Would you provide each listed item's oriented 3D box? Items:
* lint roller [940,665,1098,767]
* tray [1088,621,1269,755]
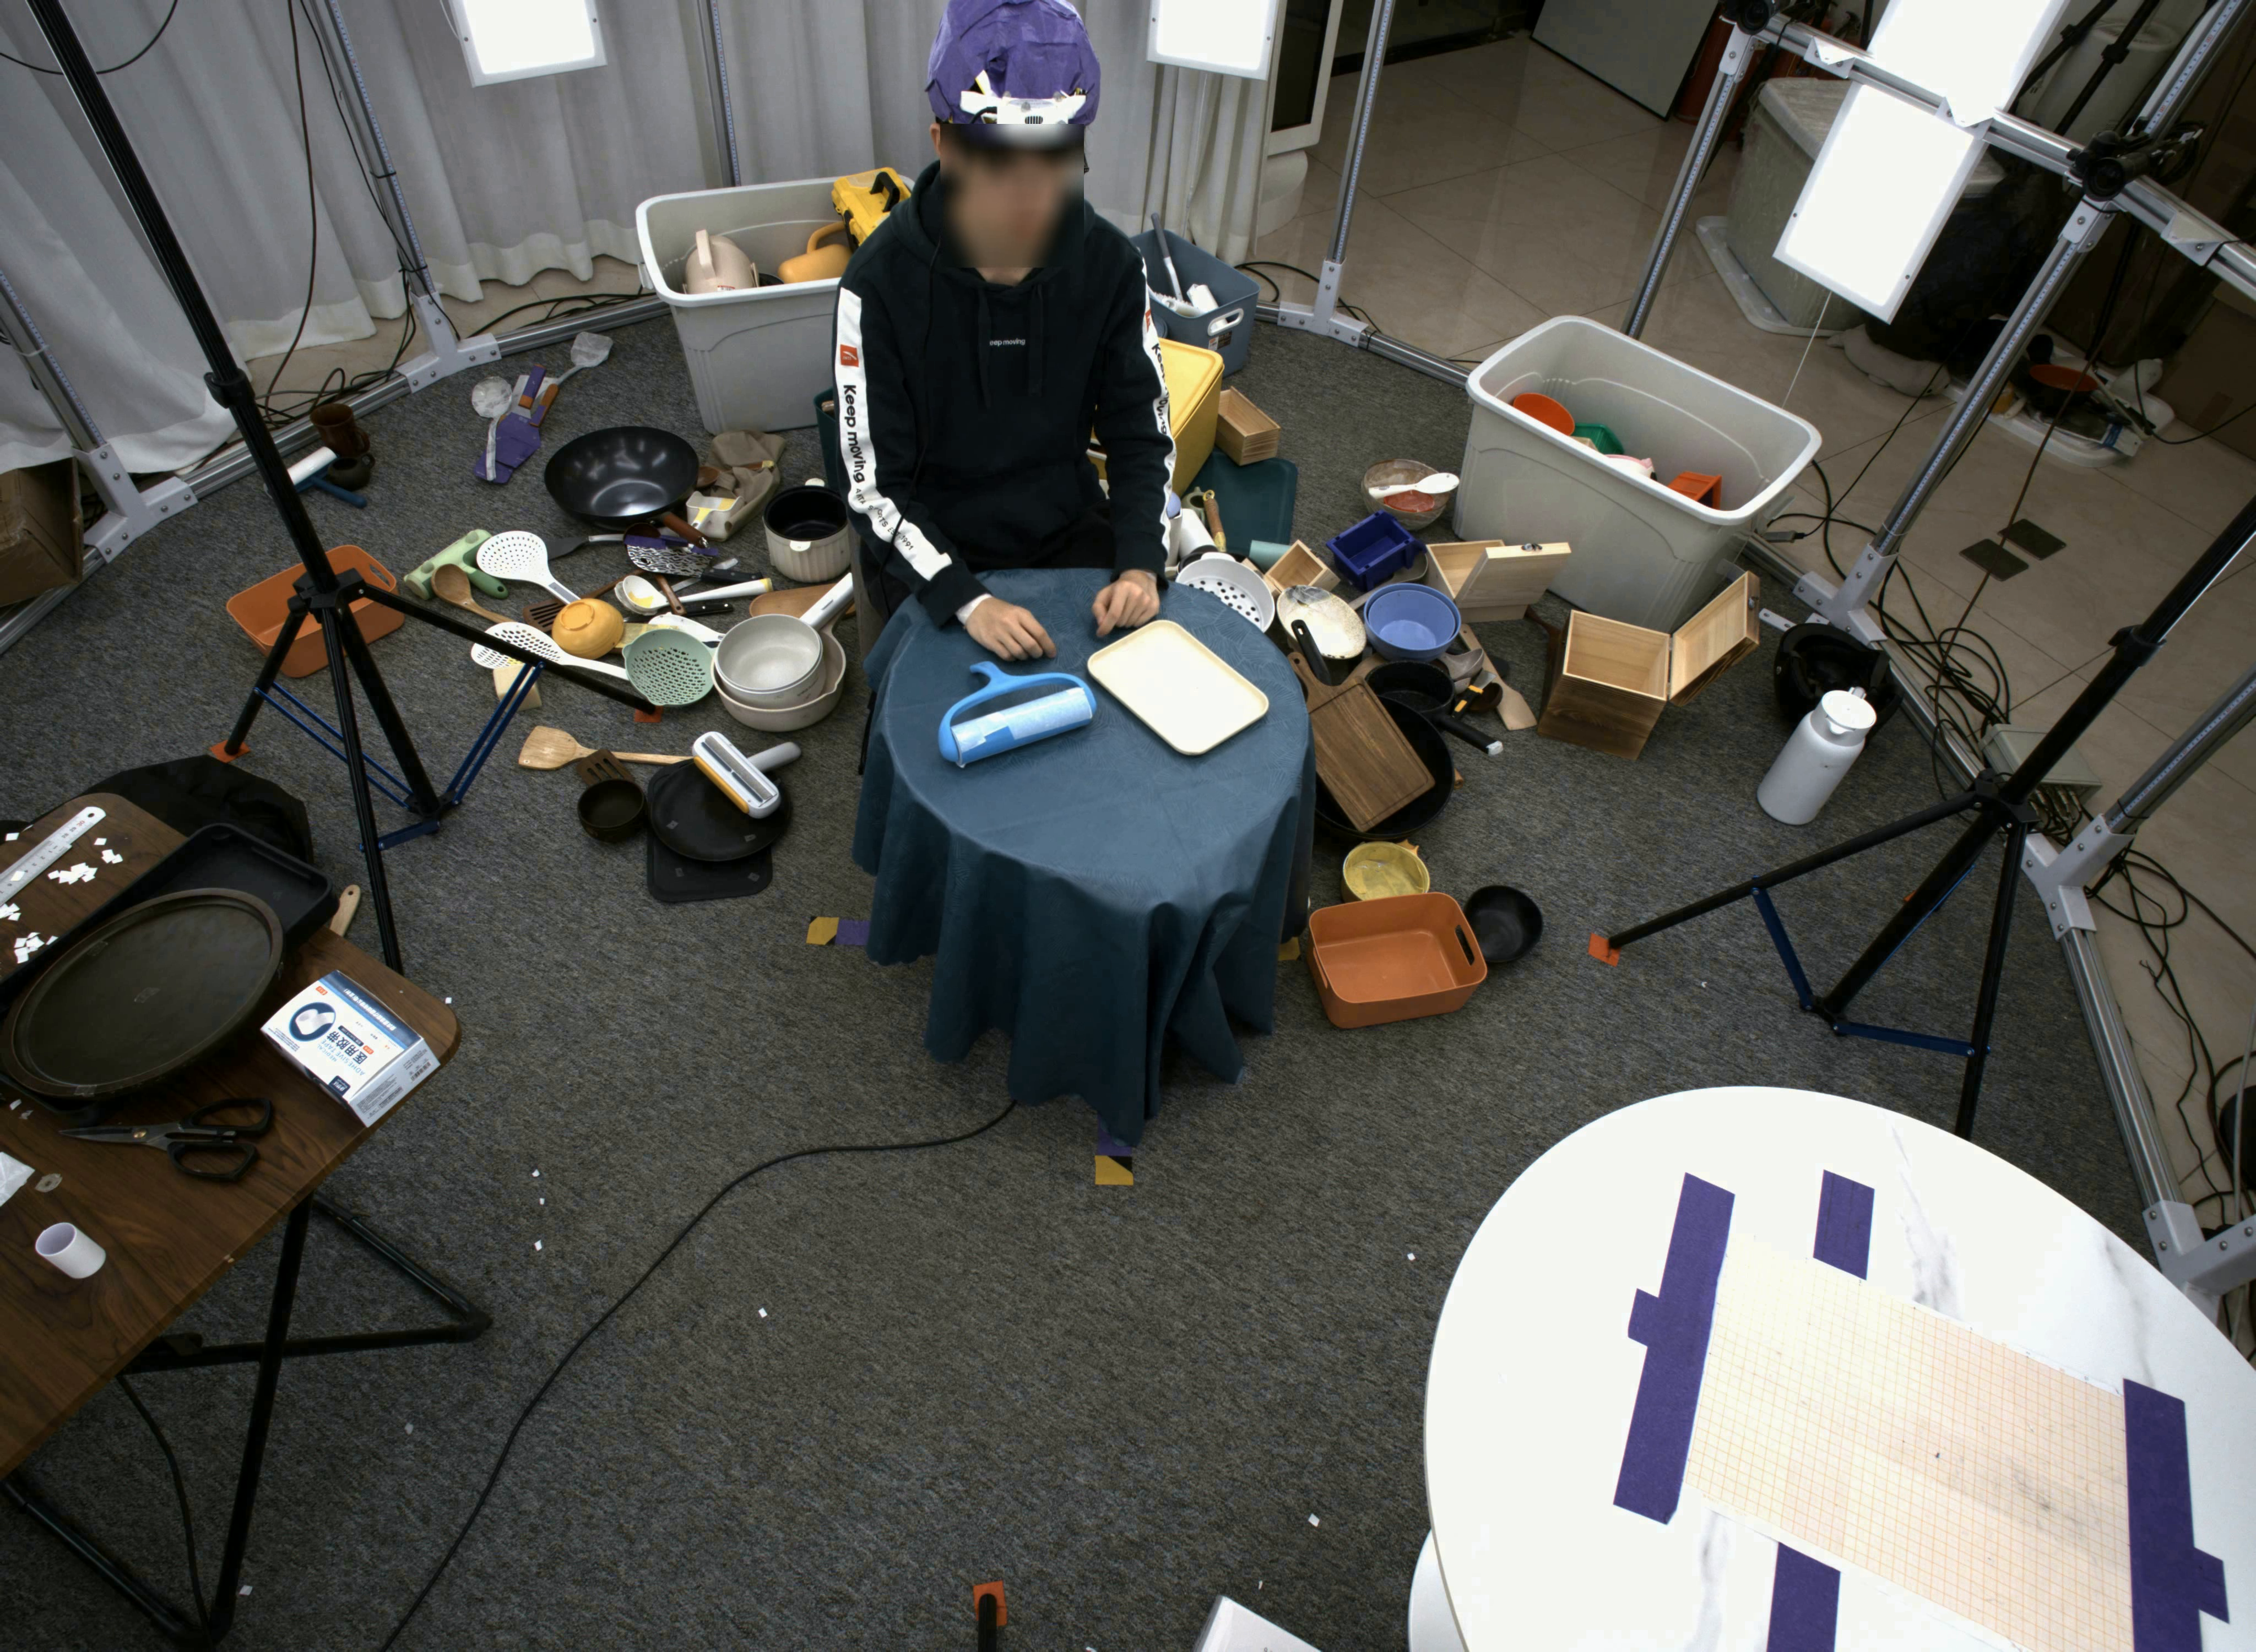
[{"bbox_3d":[-0.175,-0.177,1.774,0.229,0.066,0.184,-23,55,-20],"label":"lint roller"},{"bbox_3d":[0.071,-0.198,1.833,0.172,0.017,0.244,-31,57,-27],"label":"tray"}]
